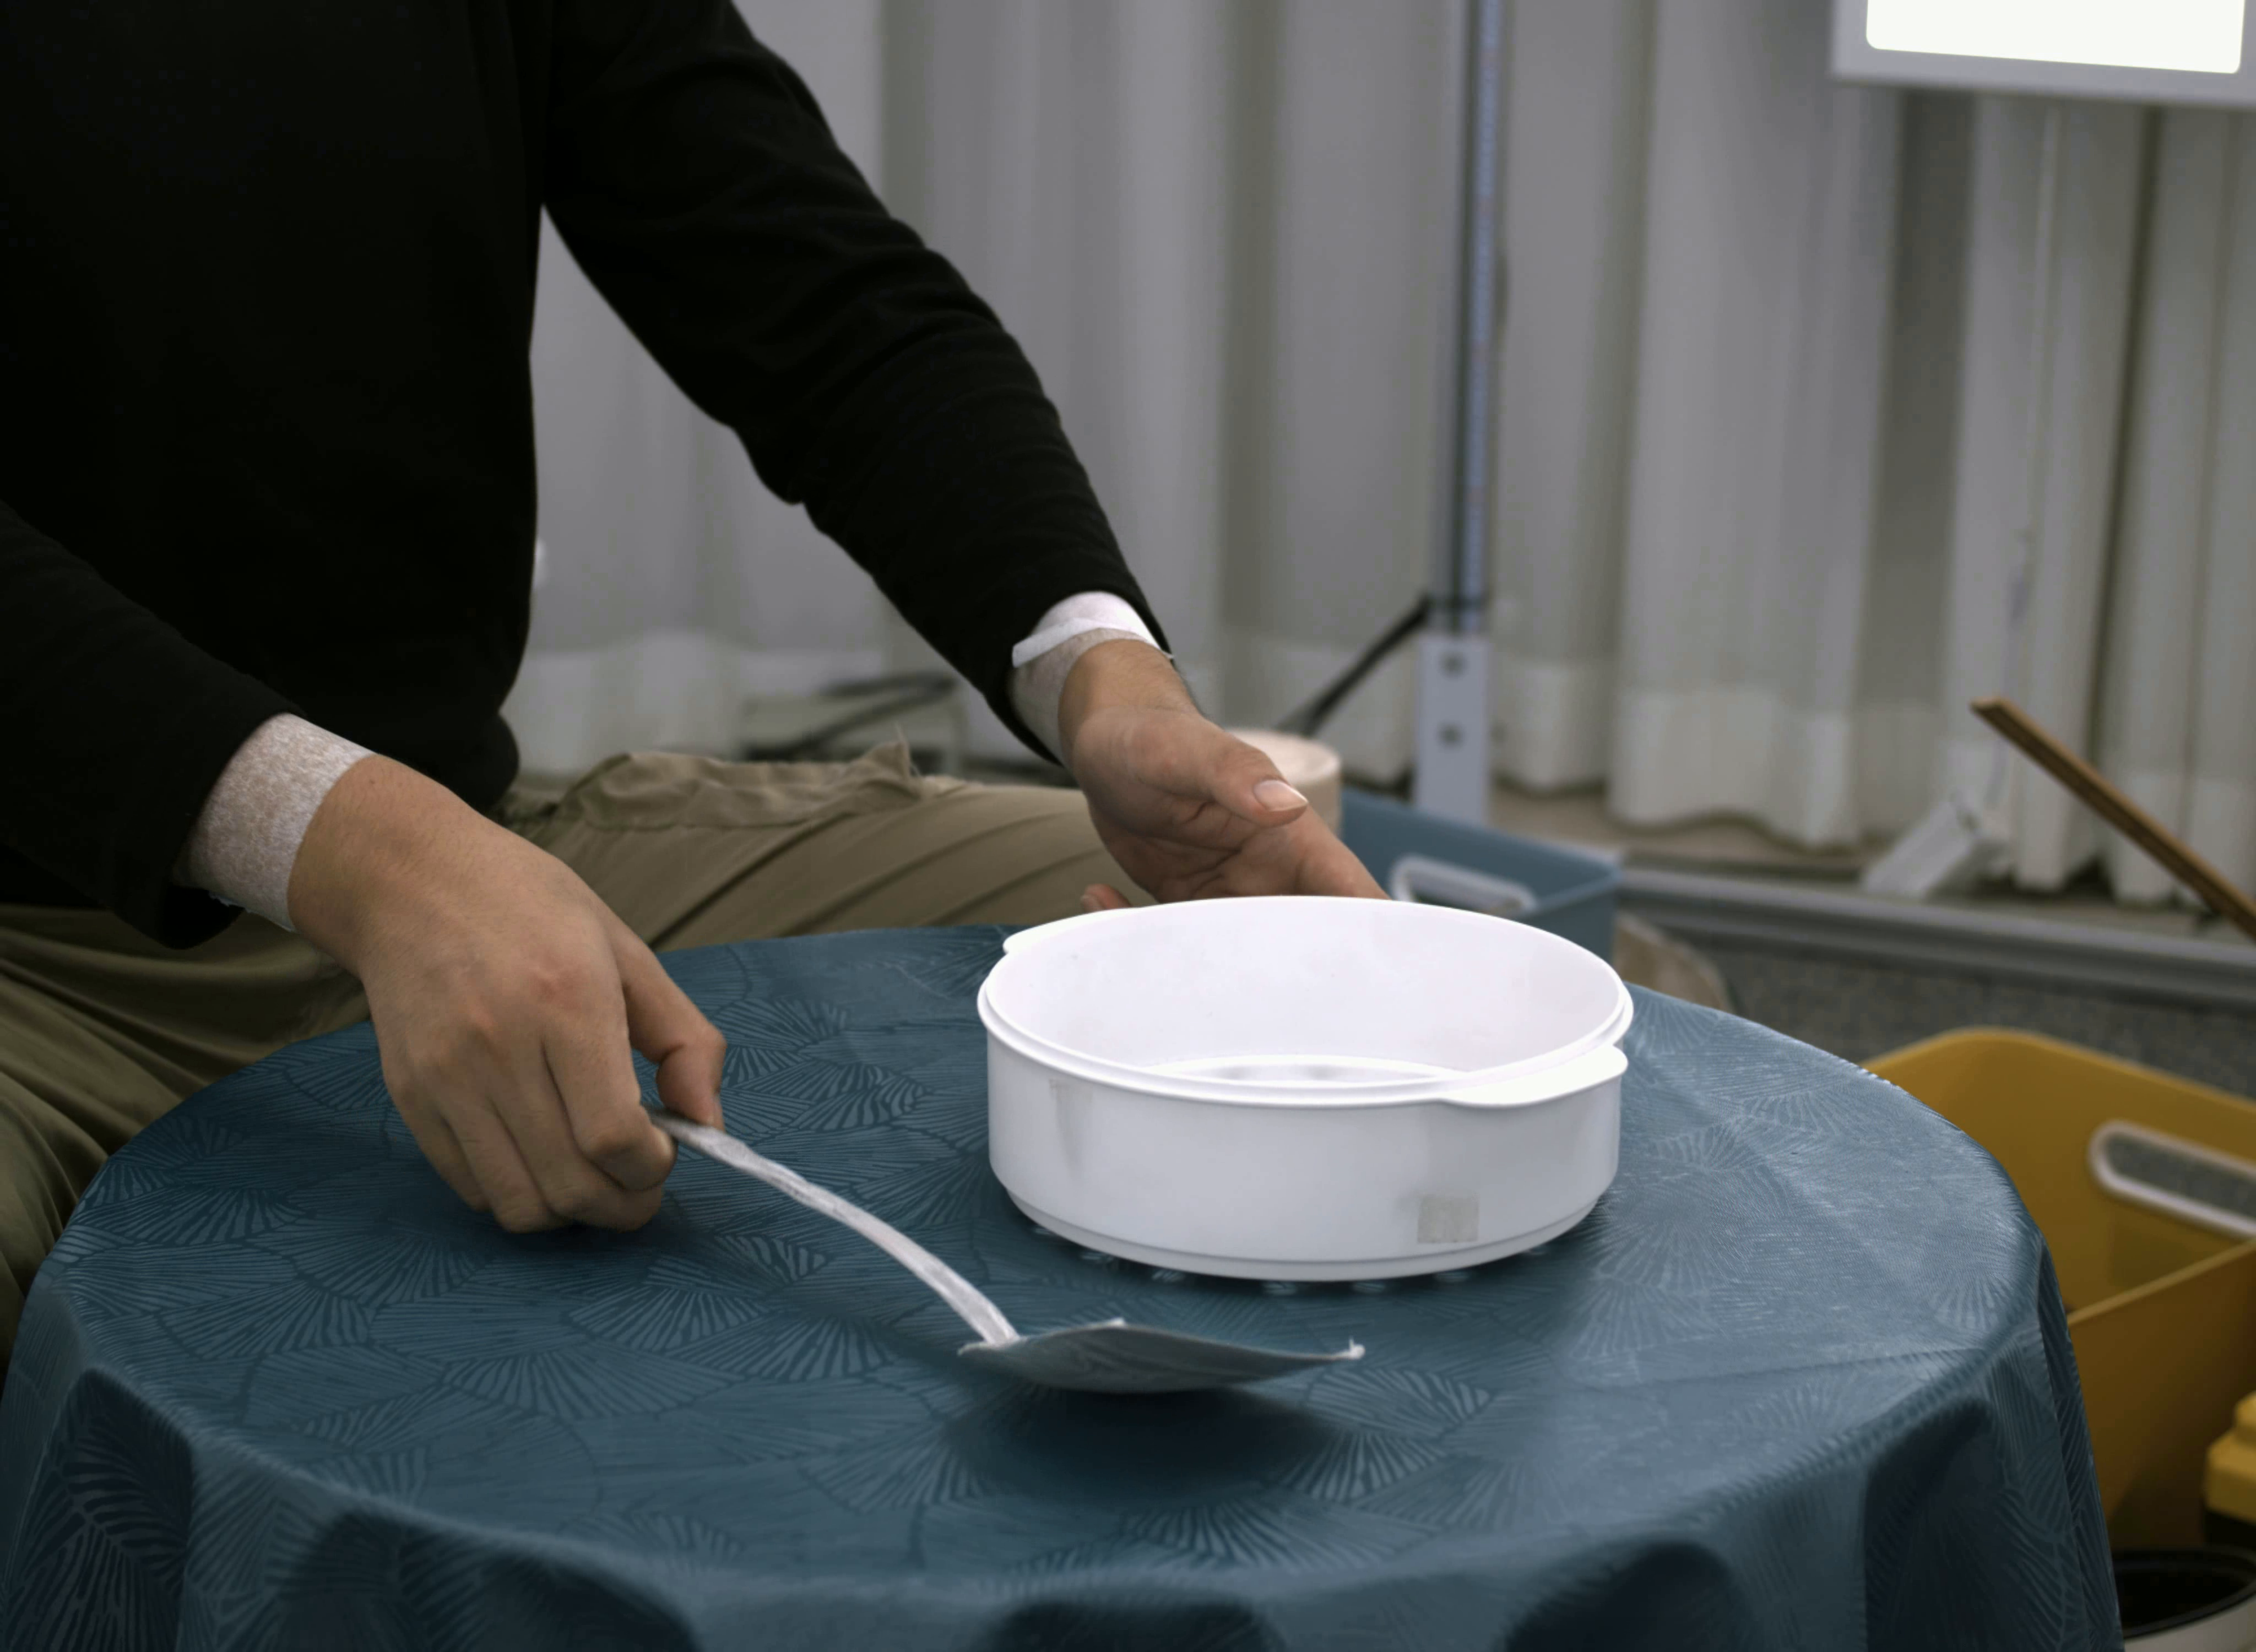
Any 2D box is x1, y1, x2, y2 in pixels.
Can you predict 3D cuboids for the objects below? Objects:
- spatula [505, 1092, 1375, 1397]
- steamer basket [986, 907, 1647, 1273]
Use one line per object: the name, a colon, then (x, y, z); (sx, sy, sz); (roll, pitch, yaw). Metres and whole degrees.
spatula: (-0.078, 0.111, 1.519); (0.099, 0.045, 0.360); (7, 10, -43)
steamer basket: (0.057, 0.080, 1.608); (0.203, 0.070, 0.227); (-12, 18, -41)
